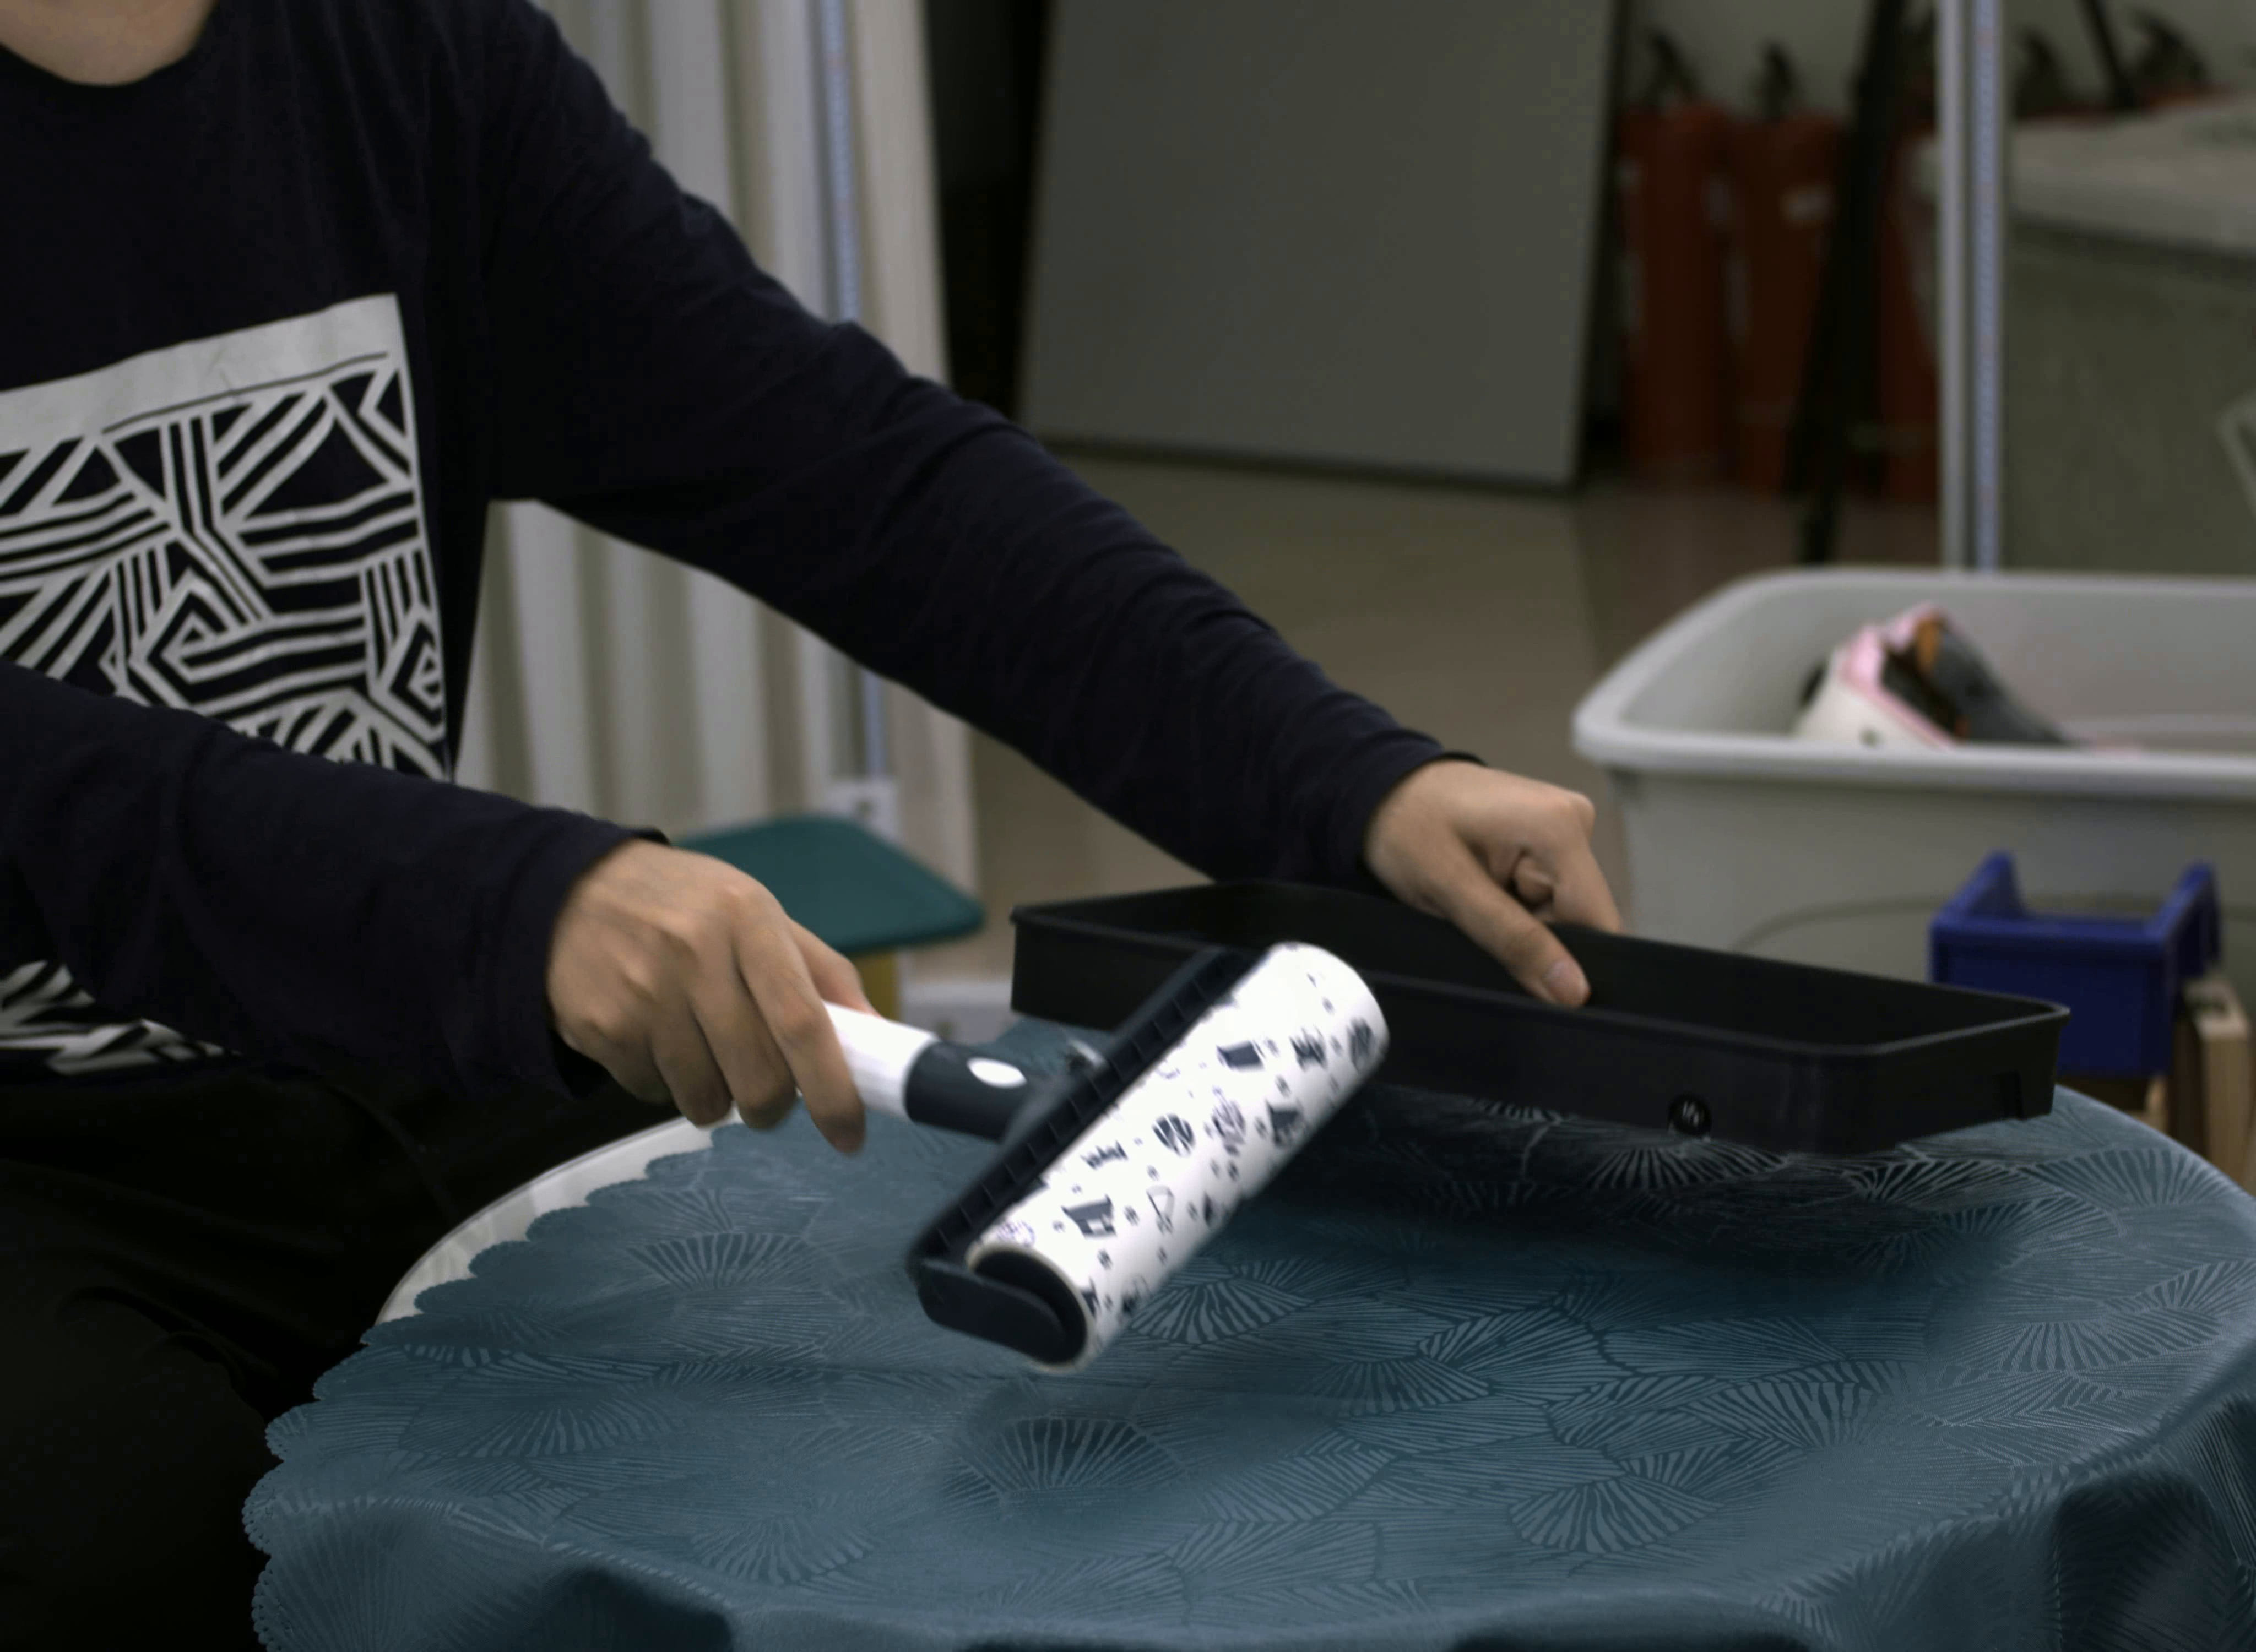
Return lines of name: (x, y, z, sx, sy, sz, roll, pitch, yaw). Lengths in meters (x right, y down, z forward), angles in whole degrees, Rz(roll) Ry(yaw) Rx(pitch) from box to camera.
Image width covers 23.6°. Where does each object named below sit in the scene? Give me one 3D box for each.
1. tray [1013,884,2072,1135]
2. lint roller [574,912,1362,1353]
tray: (0.132, 0.057, 1.754, 0.320, 0.037, 0.181, 8, 5, 34)
lint roller: (-0.072, 0.070, 1.632, 0.248, 0.050, 0.174, 13, 40, 32)
